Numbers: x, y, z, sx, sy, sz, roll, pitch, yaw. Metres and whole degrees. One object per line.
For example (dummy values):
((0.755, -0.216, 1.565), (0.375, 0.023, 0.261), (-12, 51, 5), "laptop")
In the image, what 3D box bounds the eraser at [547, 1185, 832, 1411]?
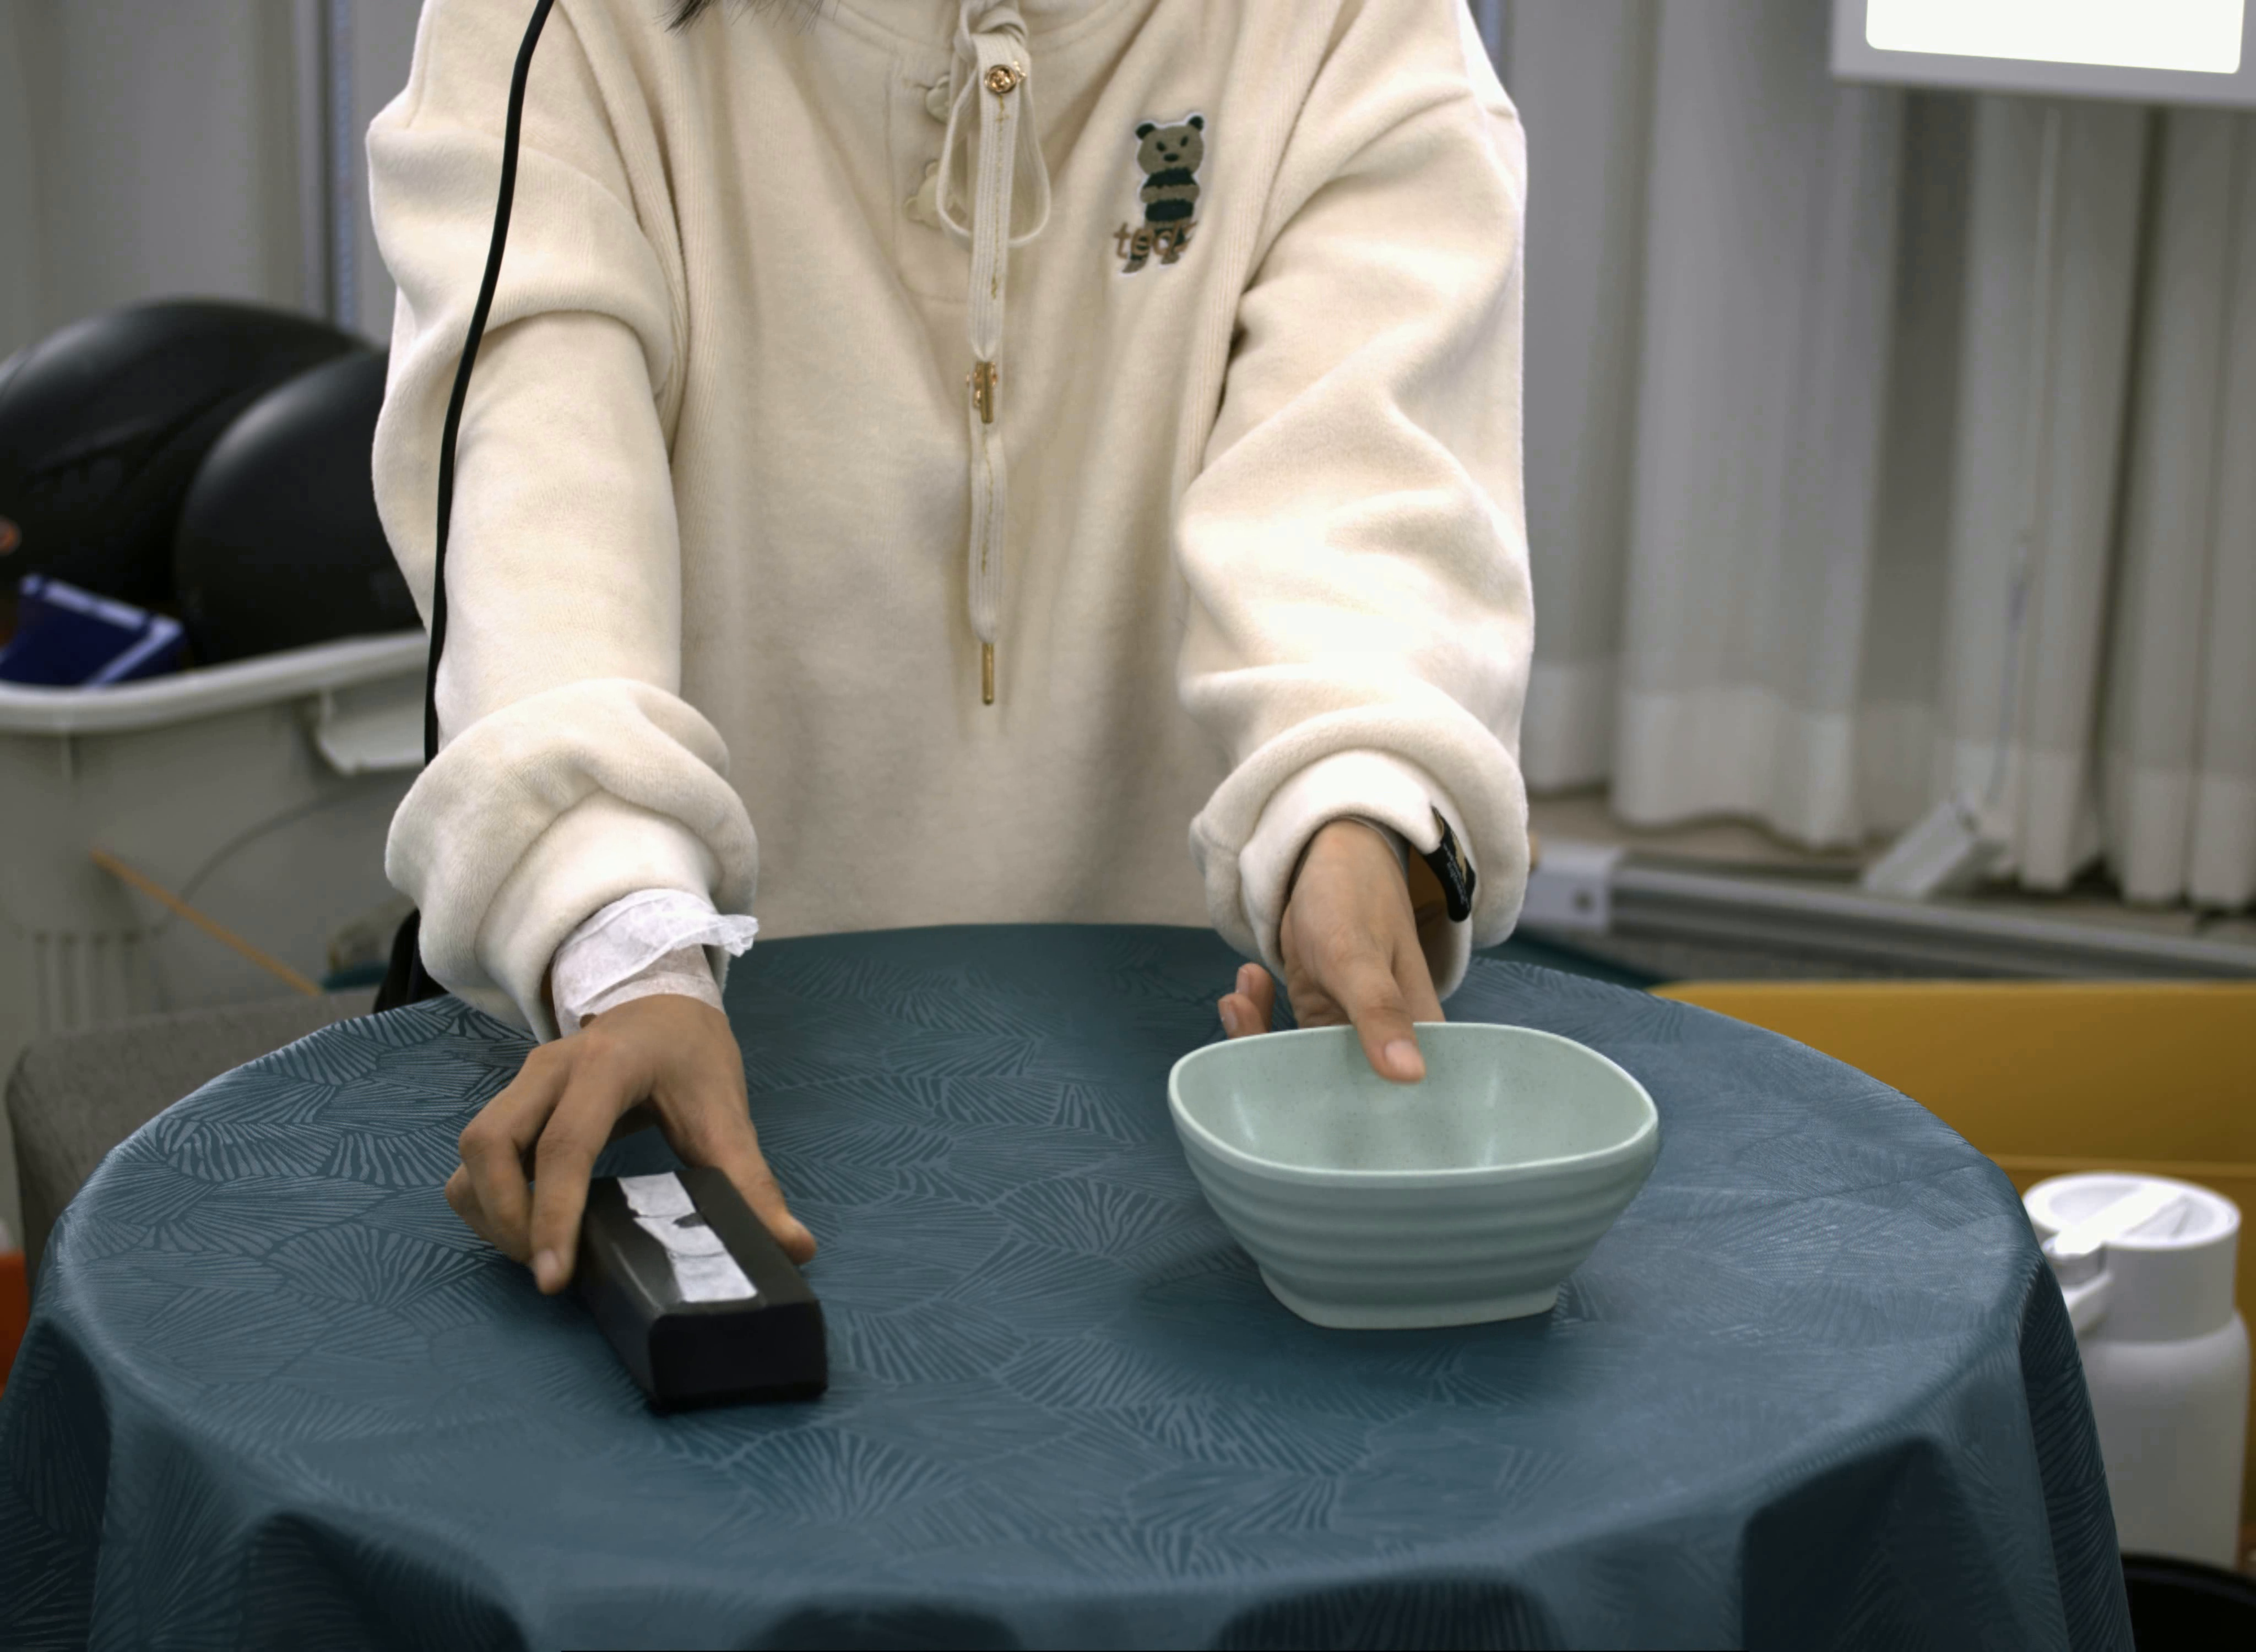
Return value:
((-0.125, 0.133, 1.494), (0.053, 0.030, 0.124), (-4, 13, -19), "eraser")

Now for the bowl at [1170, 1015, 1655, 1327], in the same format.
((0.081, 0.104, 1.542), (0.151, 0.059, 0.150), (4, 16, -1), "bowl")
